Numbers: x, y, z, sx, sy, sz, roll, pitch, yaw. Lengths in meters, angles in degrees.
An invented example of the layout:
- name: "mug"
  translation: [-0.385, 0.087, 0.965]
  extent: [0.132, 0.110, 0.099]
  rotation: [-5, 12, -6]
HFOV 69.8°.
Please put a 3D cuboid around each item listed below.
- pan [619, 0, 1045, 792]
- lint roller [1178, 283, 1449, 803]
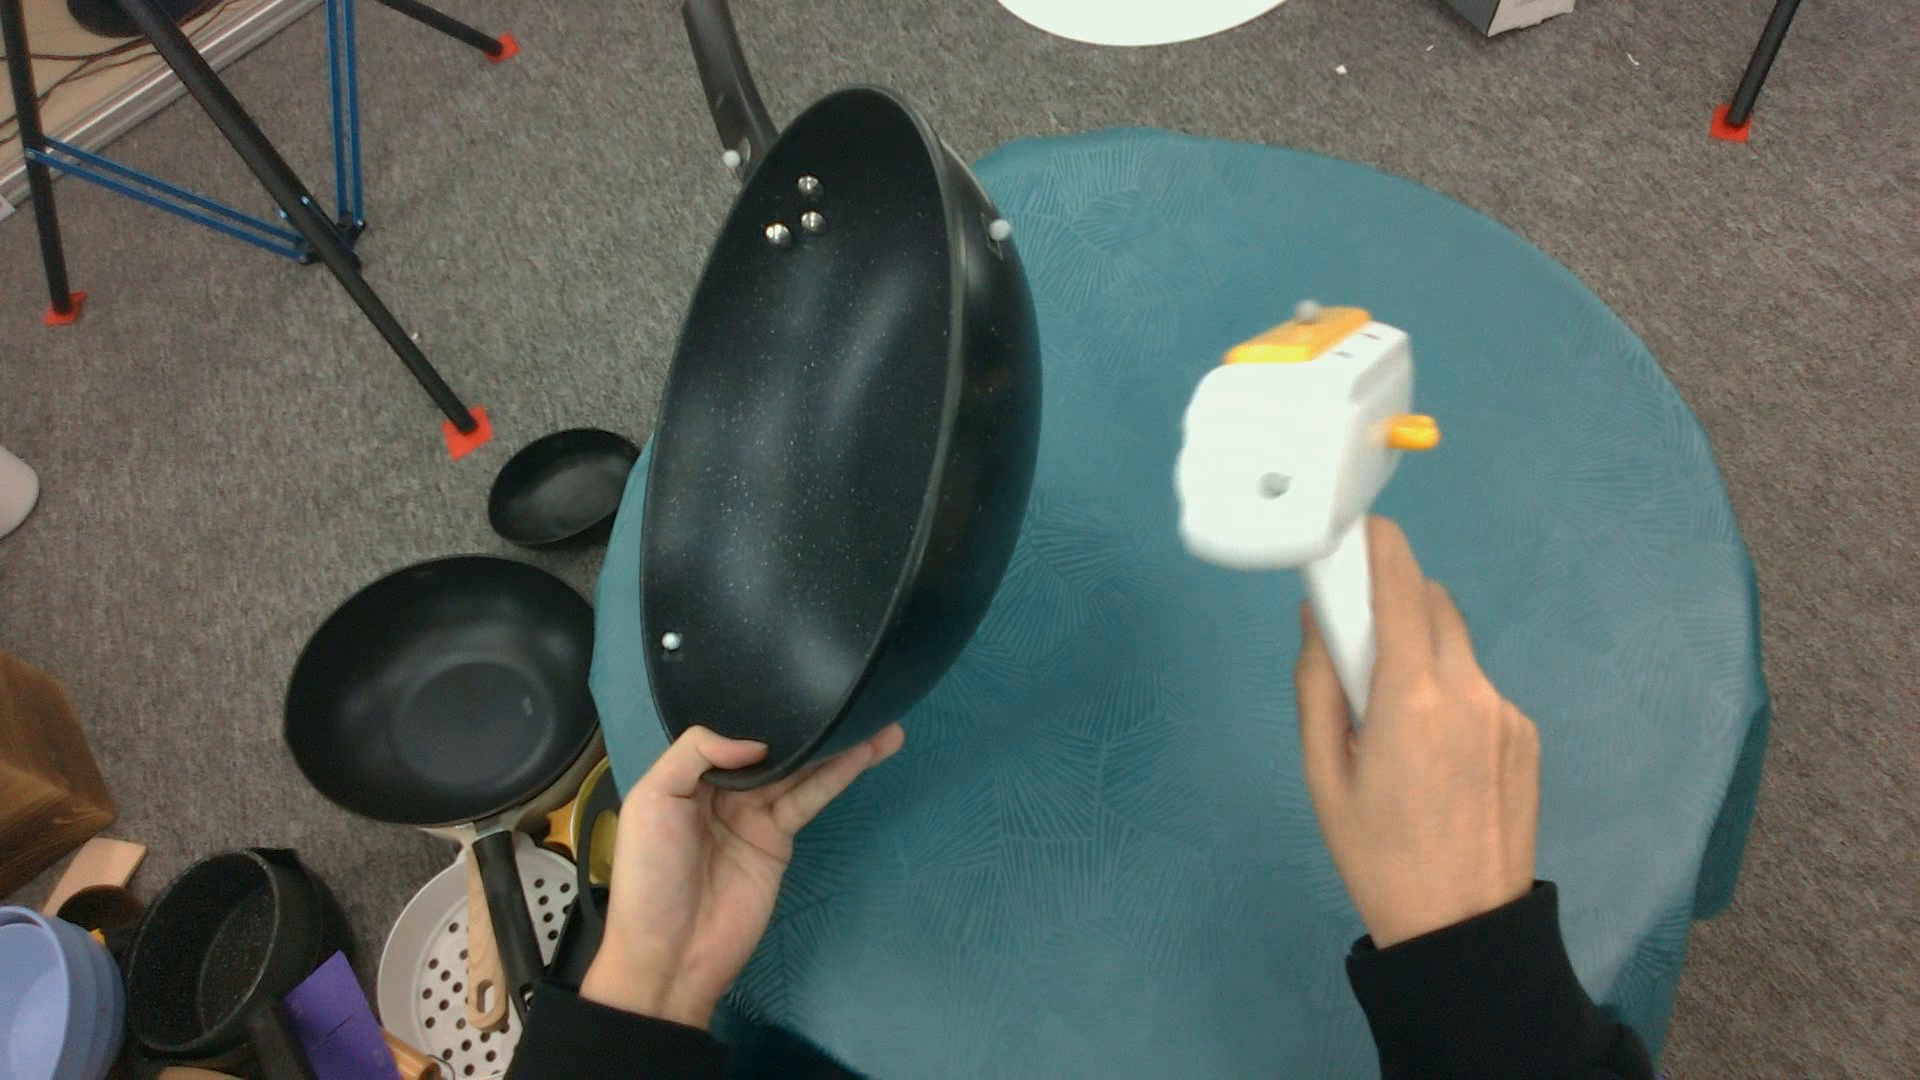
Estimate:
- name: "pan"
  translation: [-0.076, -0.114, 0.655]
  extent: [0.112, 0.308, 0.478]
  rotation: [12, 53, -34]
- name: "lint roller"
  translation: [0.140, 0.009, 0.509]
  extent: [0.074, 0.192, 0.193]
  rotation: [-6, 15, 21]
